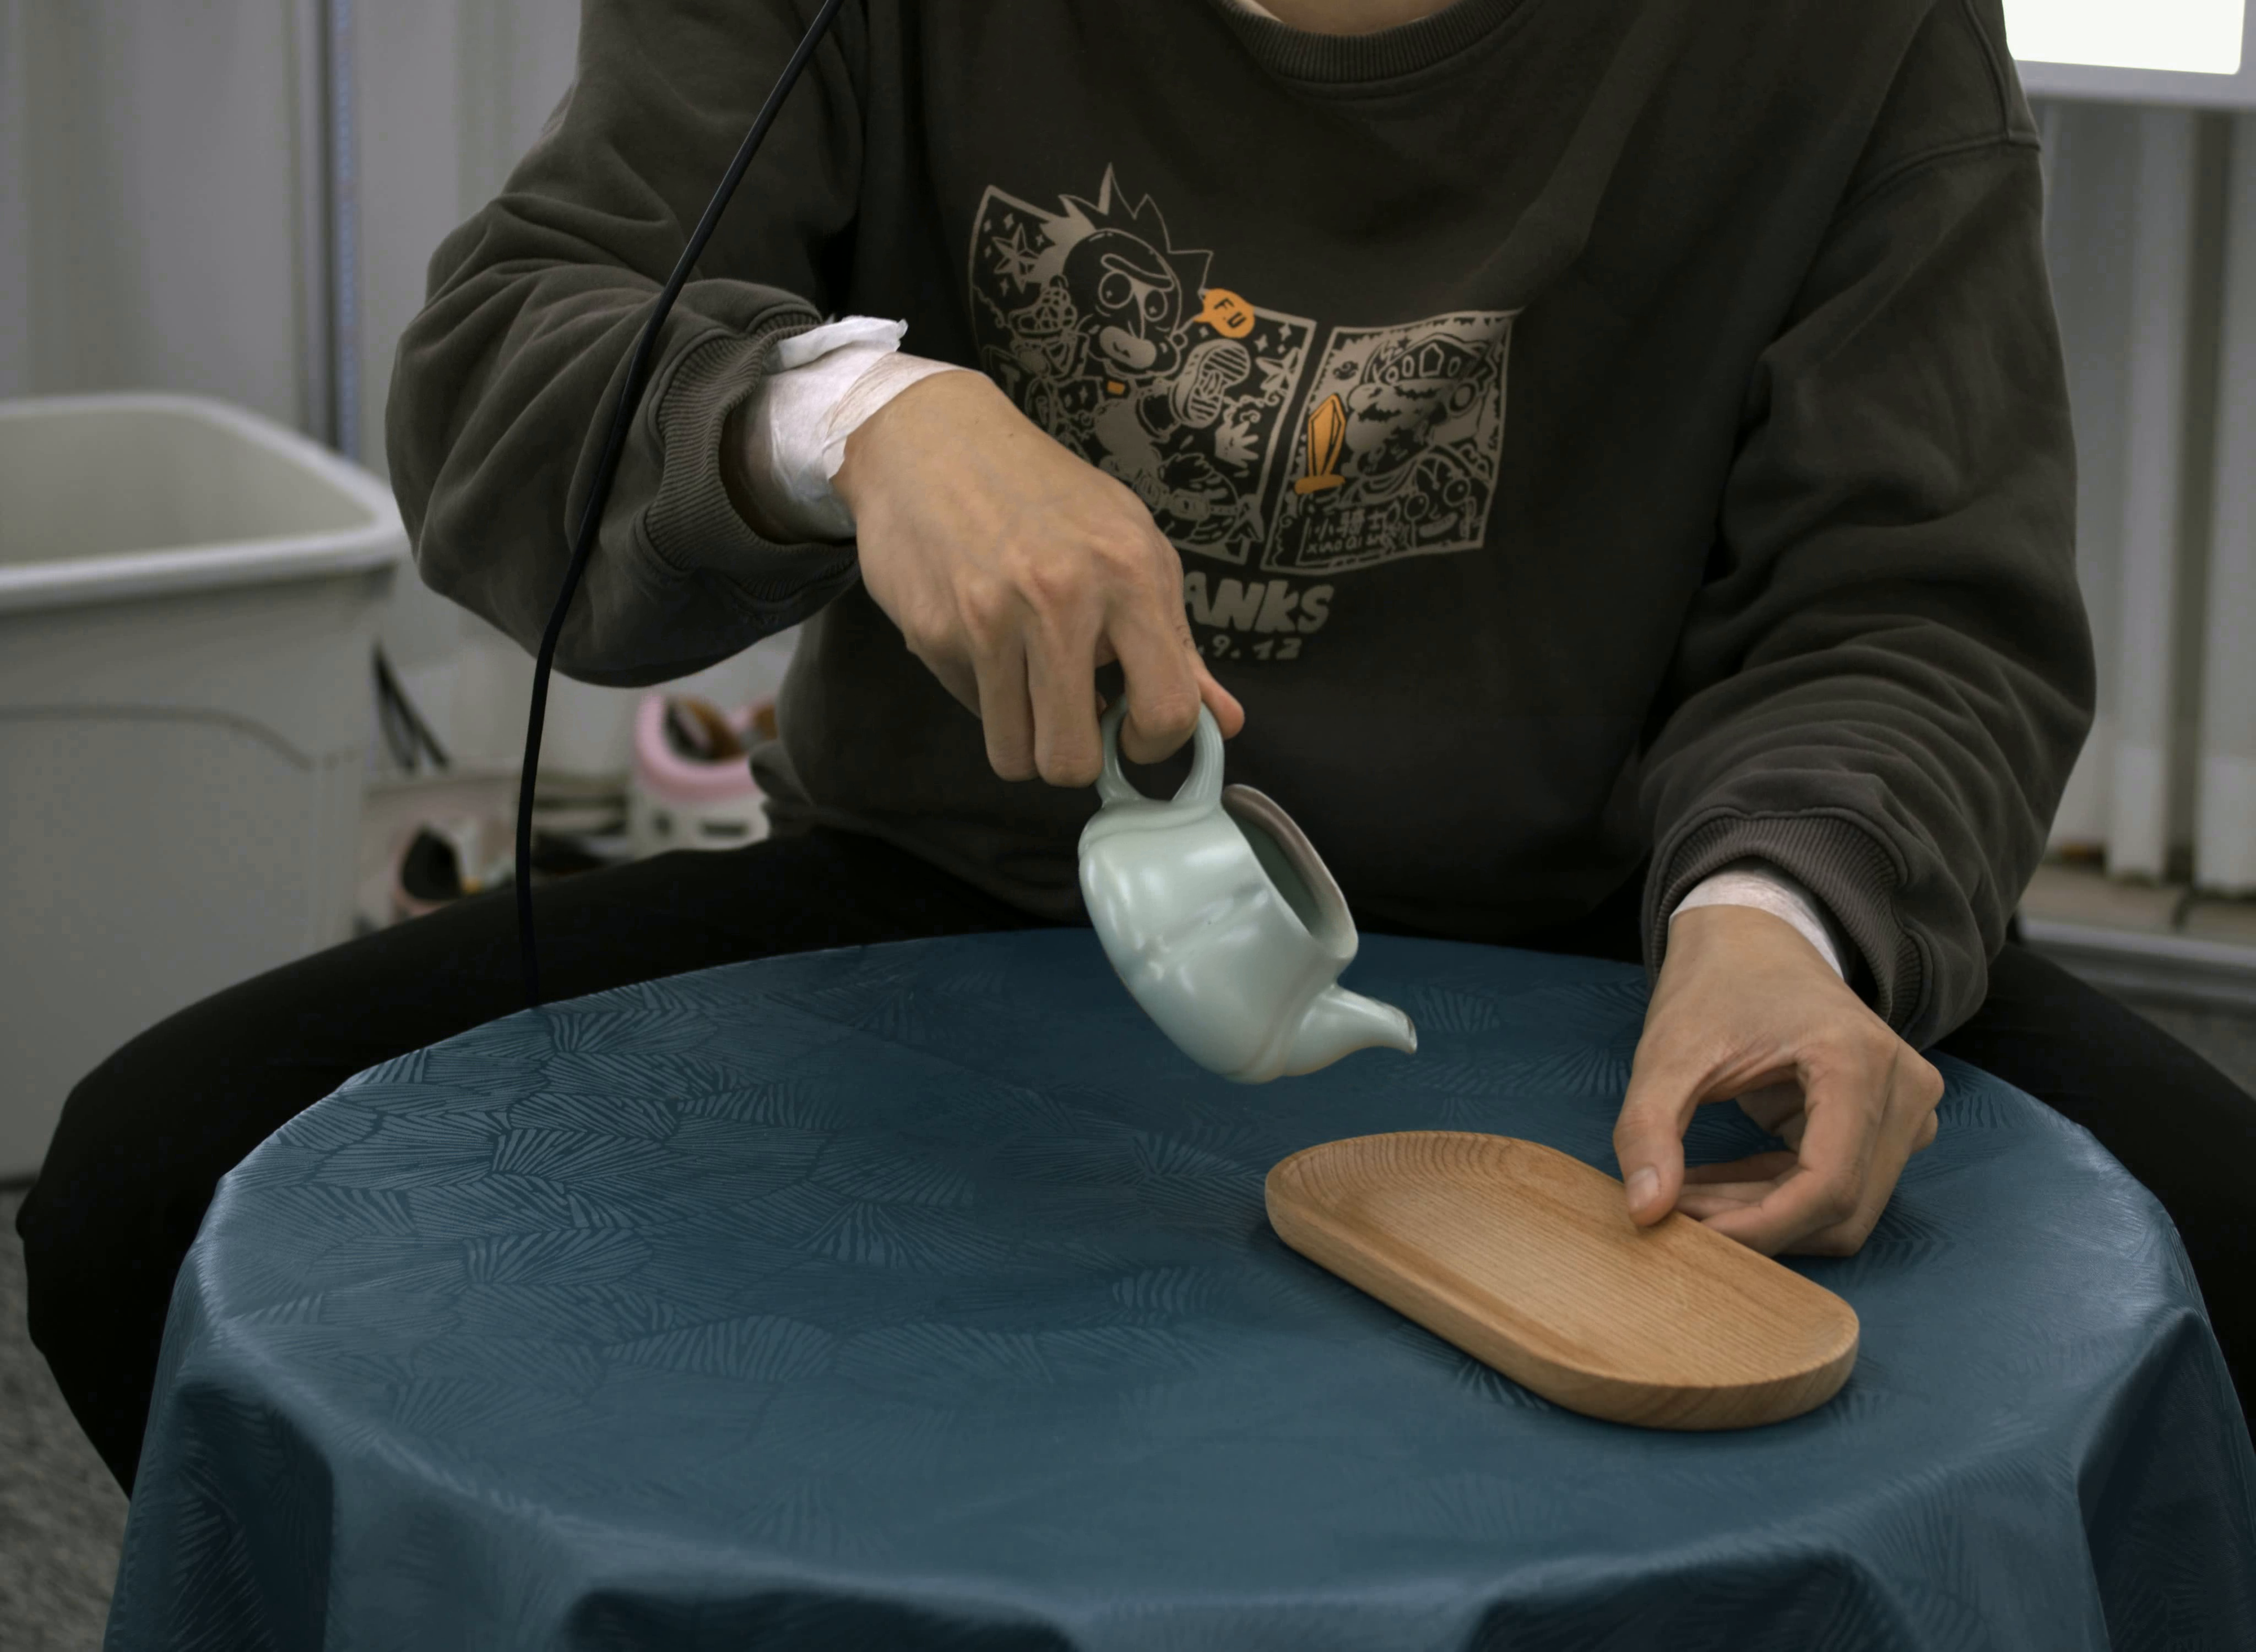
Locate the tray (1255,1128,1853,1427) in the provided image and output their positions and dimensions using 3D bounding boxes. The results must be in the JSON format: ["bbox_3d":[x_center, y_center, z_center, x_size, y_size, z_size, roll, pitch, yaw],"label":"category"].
[{"bbox_3d":[0.121,0.130,1.541,0.102,0.020,0.228,-8,17,-29],"label":"tray"}]

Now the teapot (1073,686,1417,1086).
[{"bbox_3d":[0.025,0.024,1.568,0.061,0.137,0.096,-33,2,19],"label":"teapot"}]
